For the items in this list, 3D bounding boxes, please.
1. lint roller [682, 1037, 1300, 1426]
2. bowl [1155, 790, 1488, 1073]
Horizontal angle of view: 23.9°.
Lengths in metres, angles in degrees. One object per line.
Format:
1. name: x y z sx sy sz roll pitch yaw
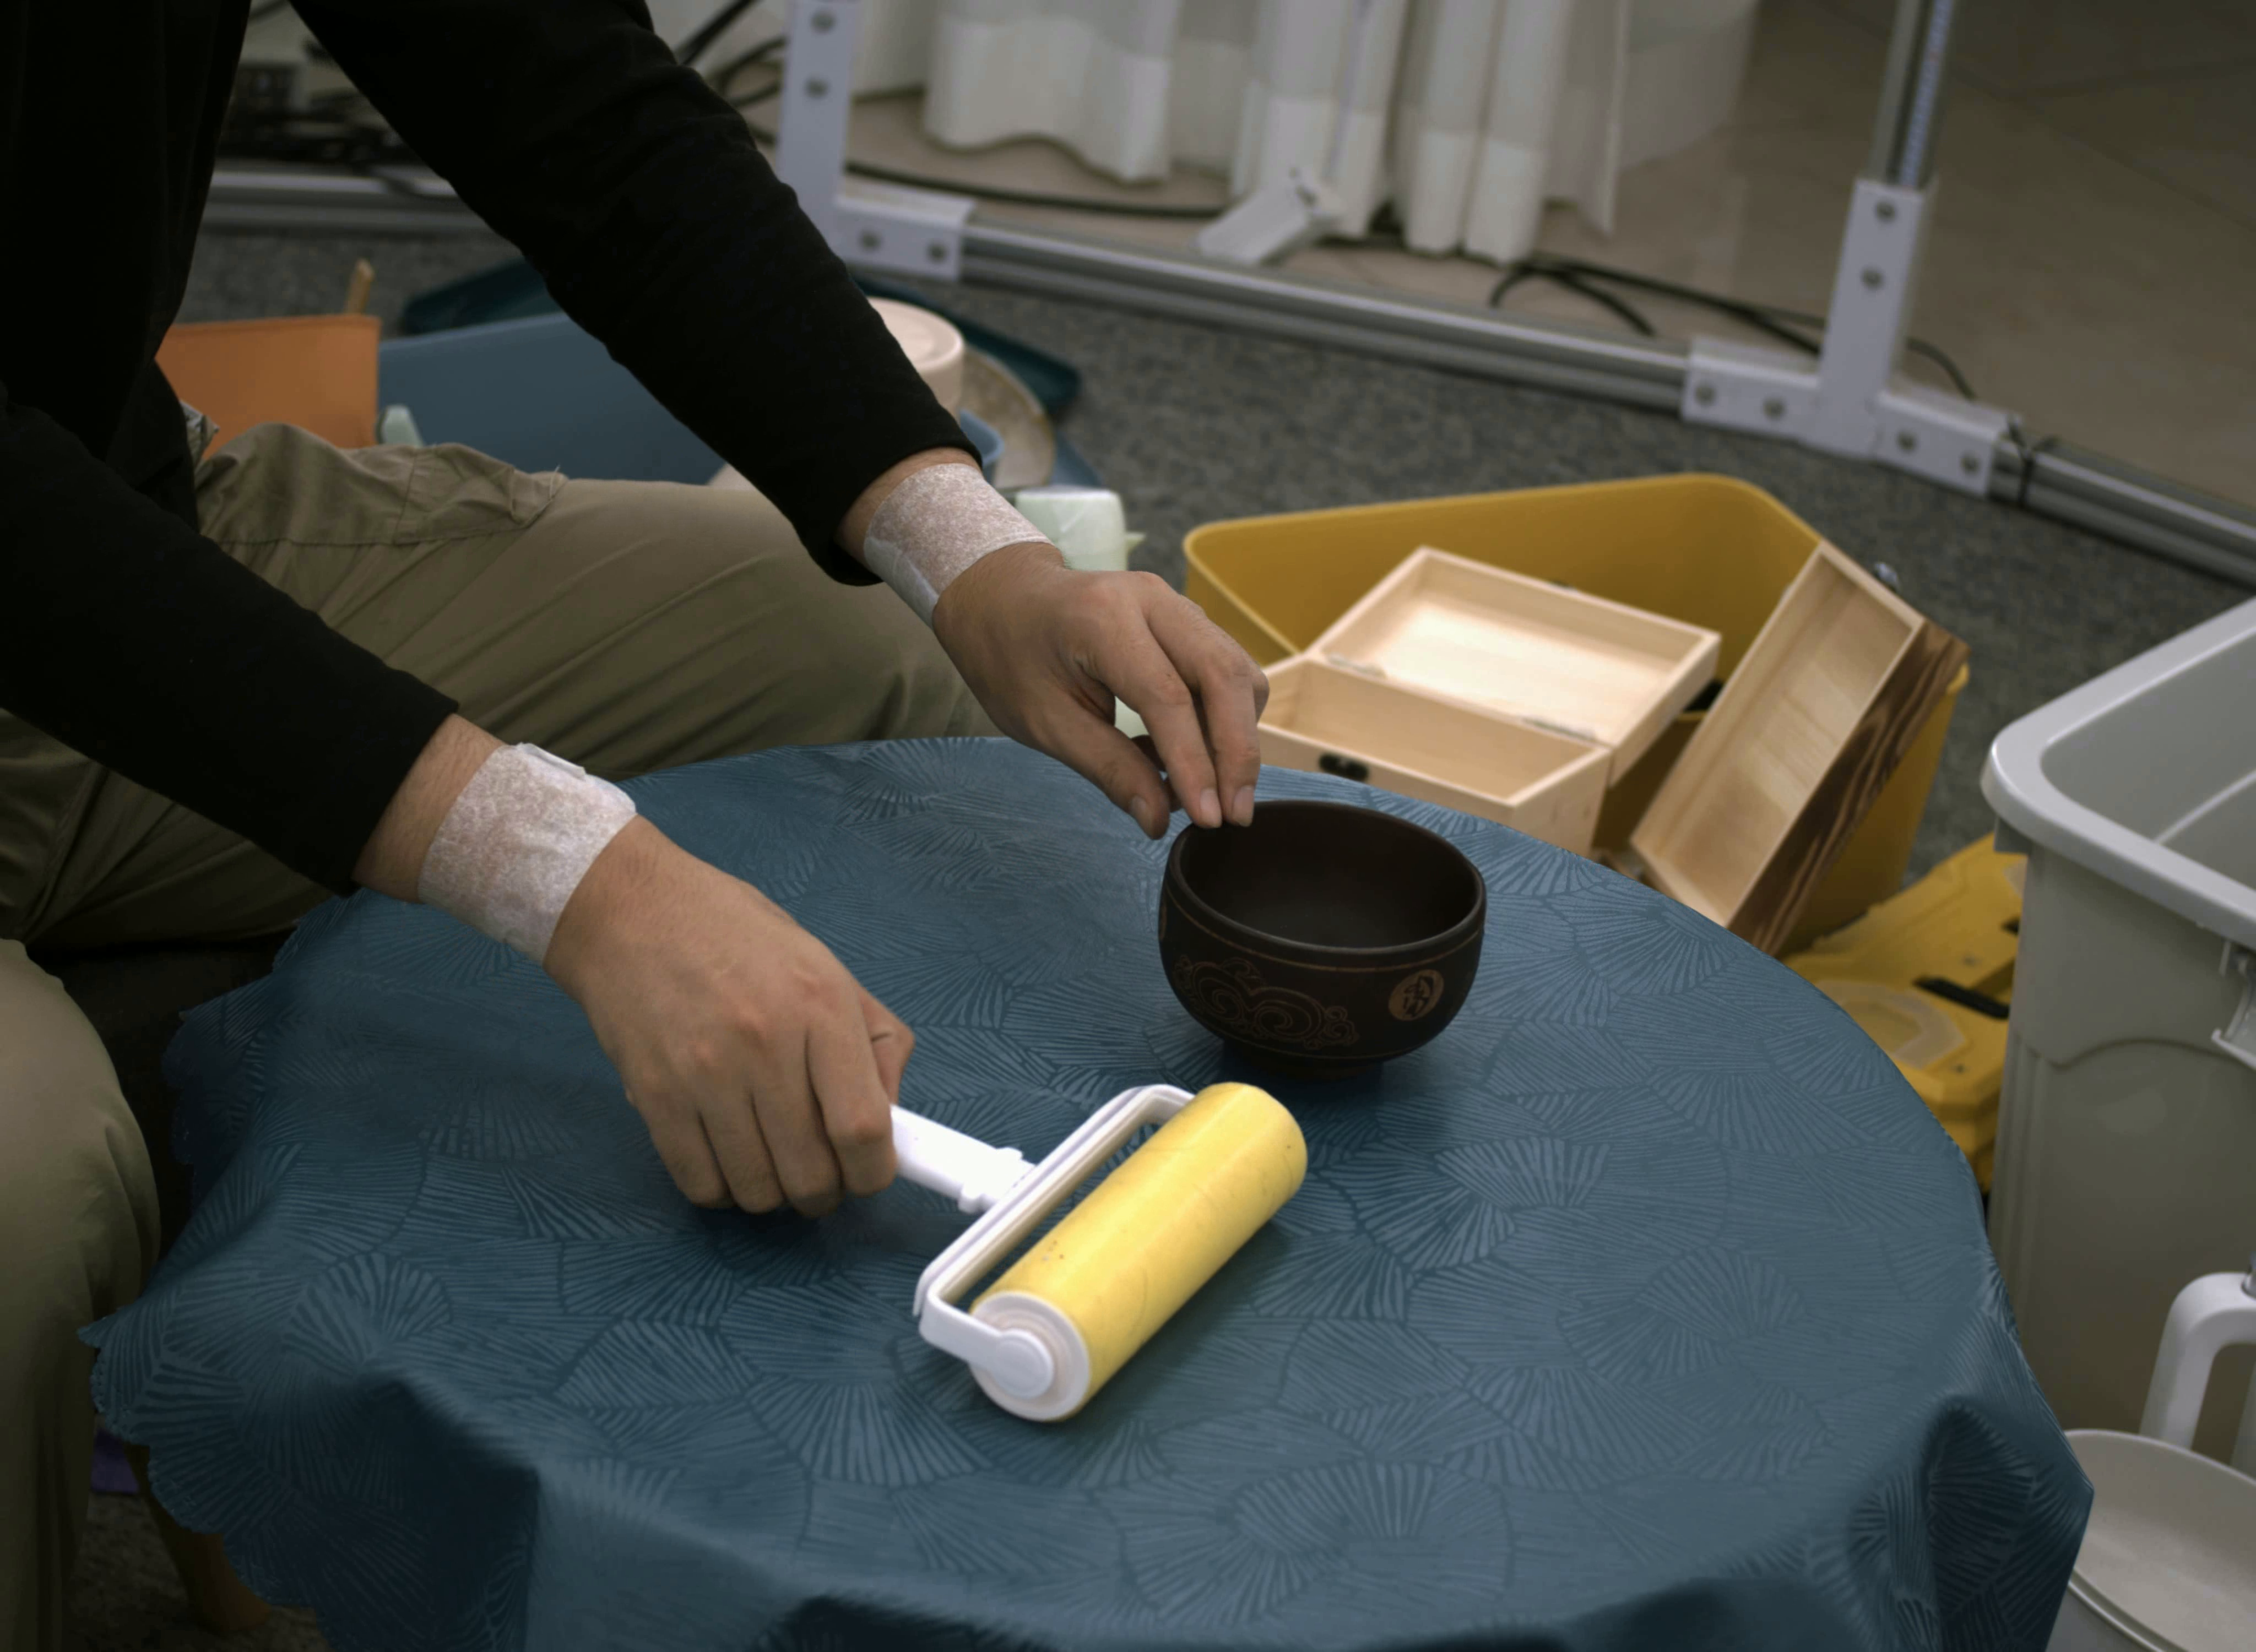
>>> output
1. lint roller: -0.059 0.105 1.742 0.192 0.051 0.174 30 32 13
2. bowl: 0.066 0.044 1.890 0.117 0.069 0.119 6 27 -3
